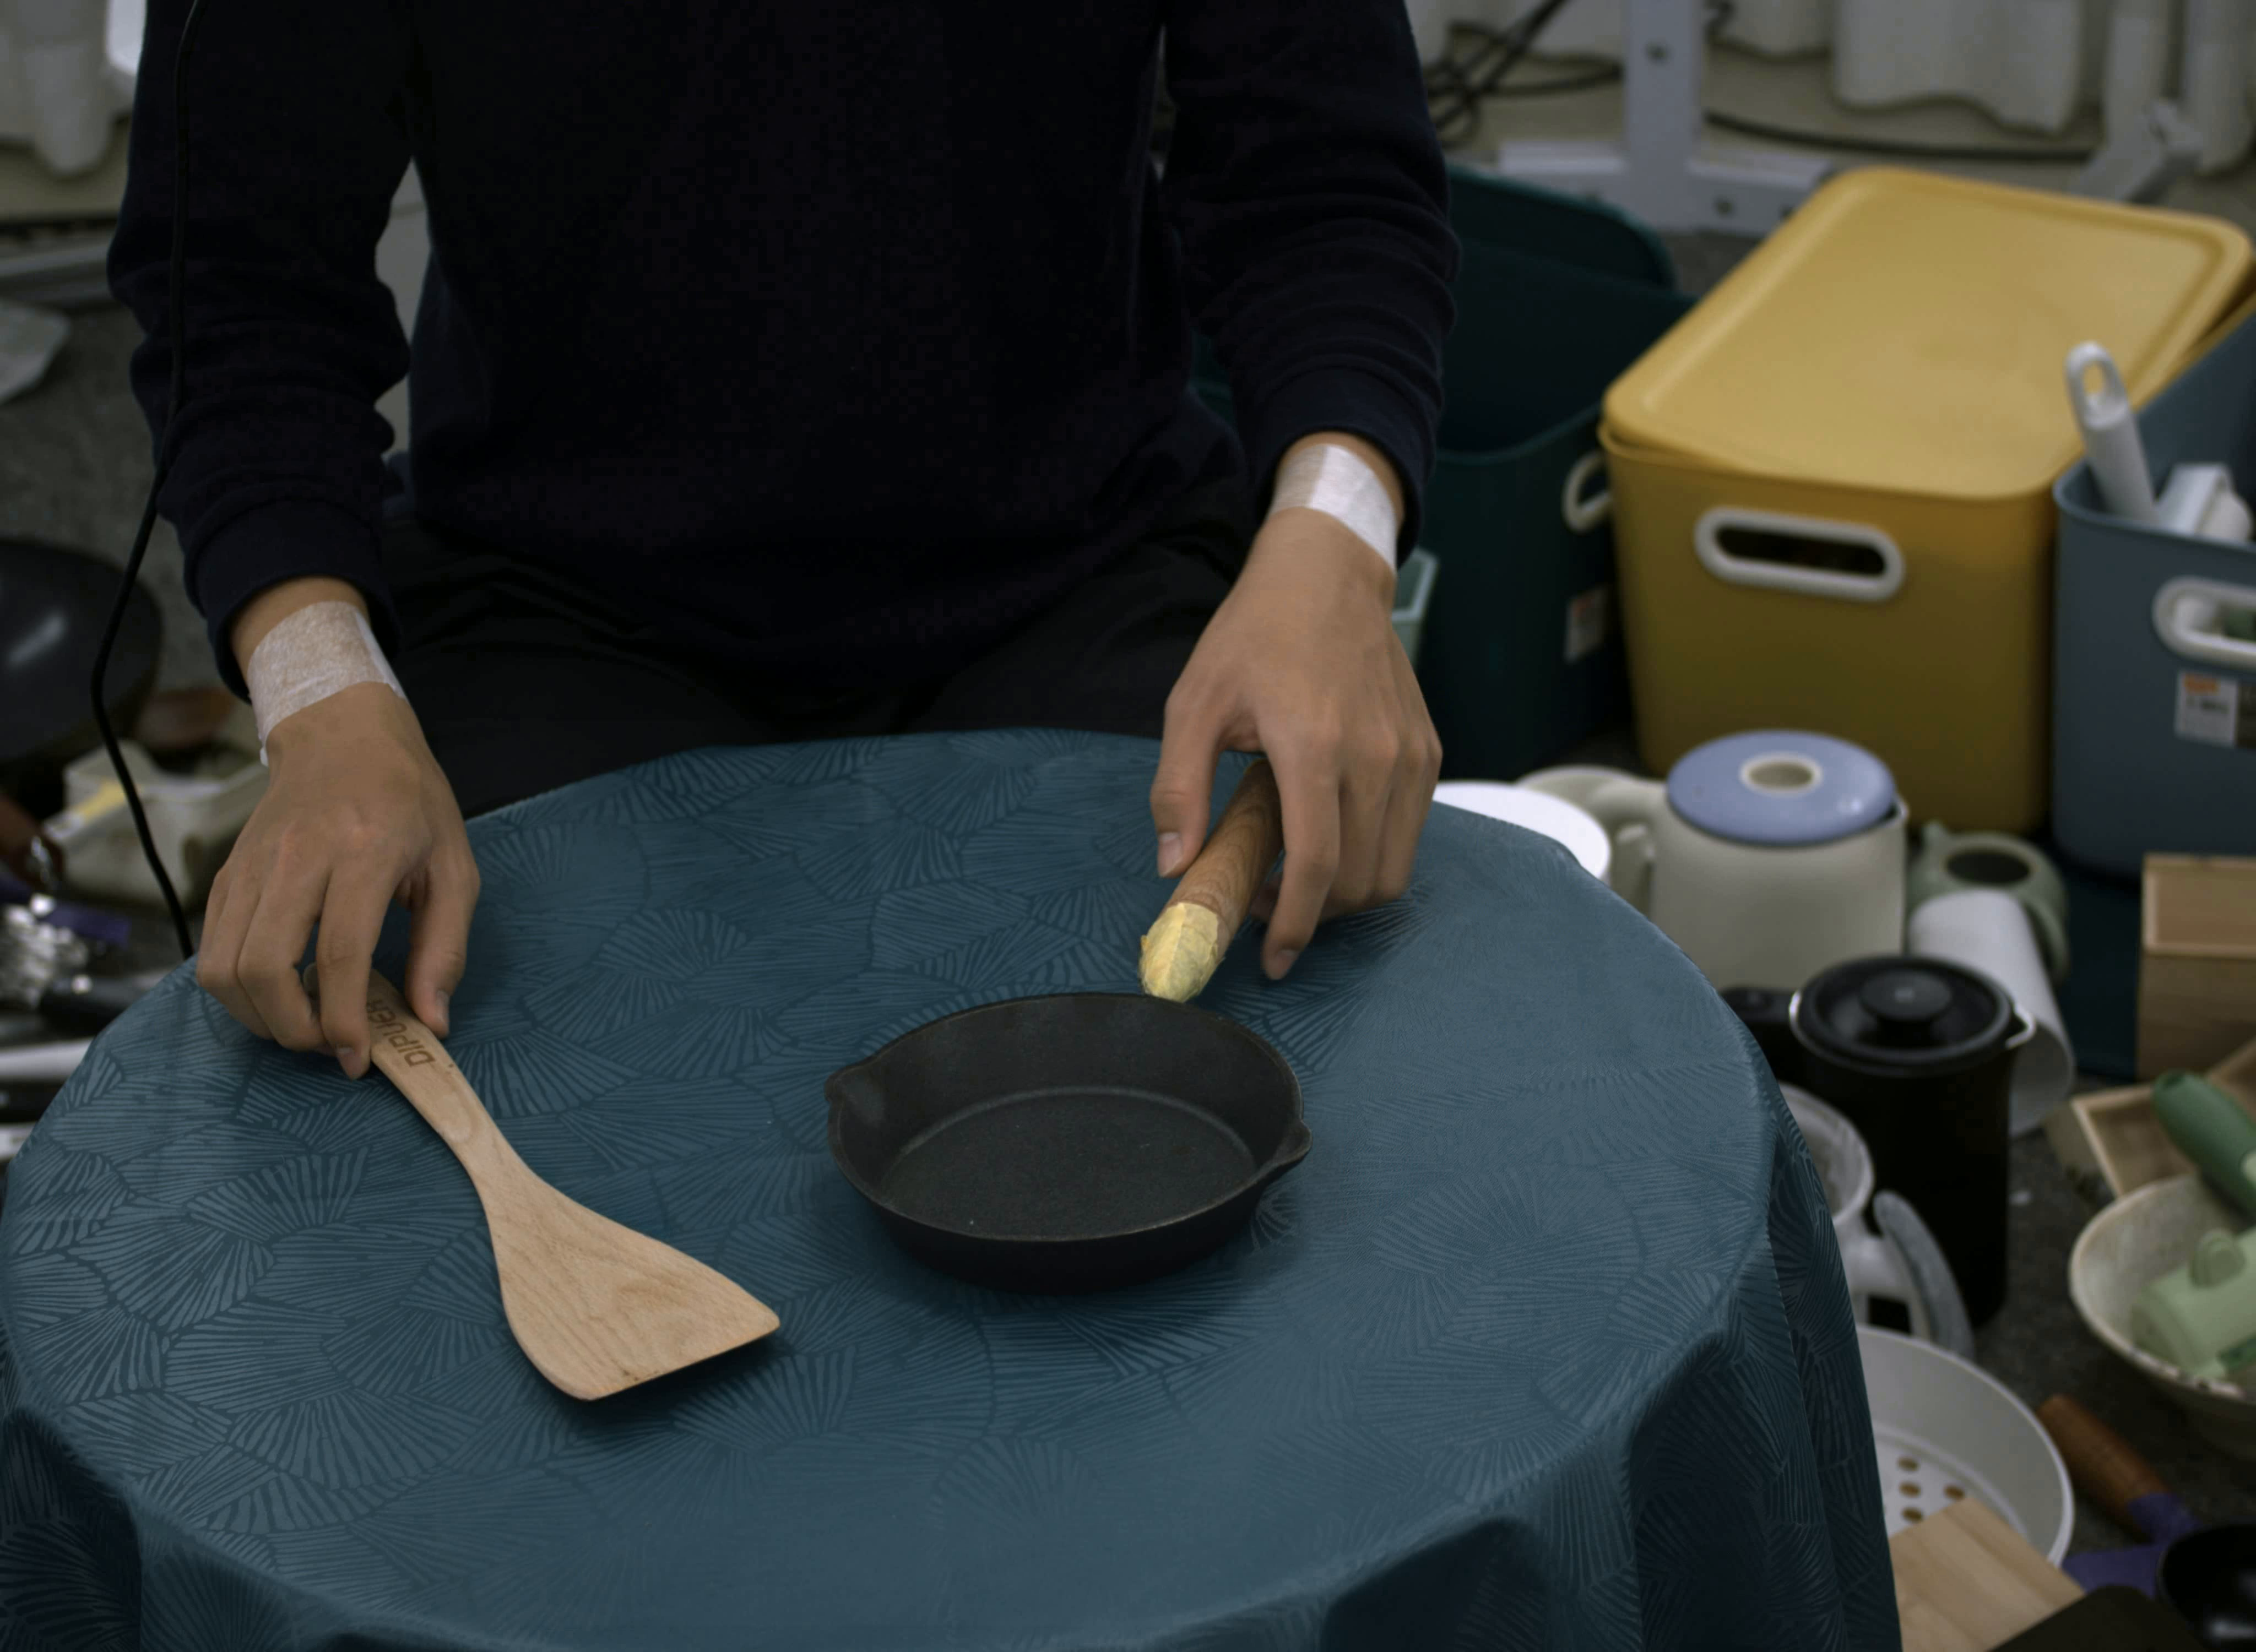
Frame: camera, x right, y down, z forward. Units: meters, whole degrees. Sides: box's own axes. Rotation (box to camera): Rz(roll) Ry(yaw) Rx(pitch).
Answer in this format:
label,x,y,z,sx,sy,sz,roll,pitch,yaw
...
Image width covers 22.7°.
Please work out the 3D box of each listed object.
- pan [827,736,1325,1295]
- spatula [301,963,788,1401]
label,x,y,z,sx,sy,sz,roll,pitch,yaw
pan,0.010,0.062,1.922,0.168,0.049,0.330,8,31,20
spatula,-0.210,0.113,1.882,0.080,0.016,0.329,-13,29,-25
